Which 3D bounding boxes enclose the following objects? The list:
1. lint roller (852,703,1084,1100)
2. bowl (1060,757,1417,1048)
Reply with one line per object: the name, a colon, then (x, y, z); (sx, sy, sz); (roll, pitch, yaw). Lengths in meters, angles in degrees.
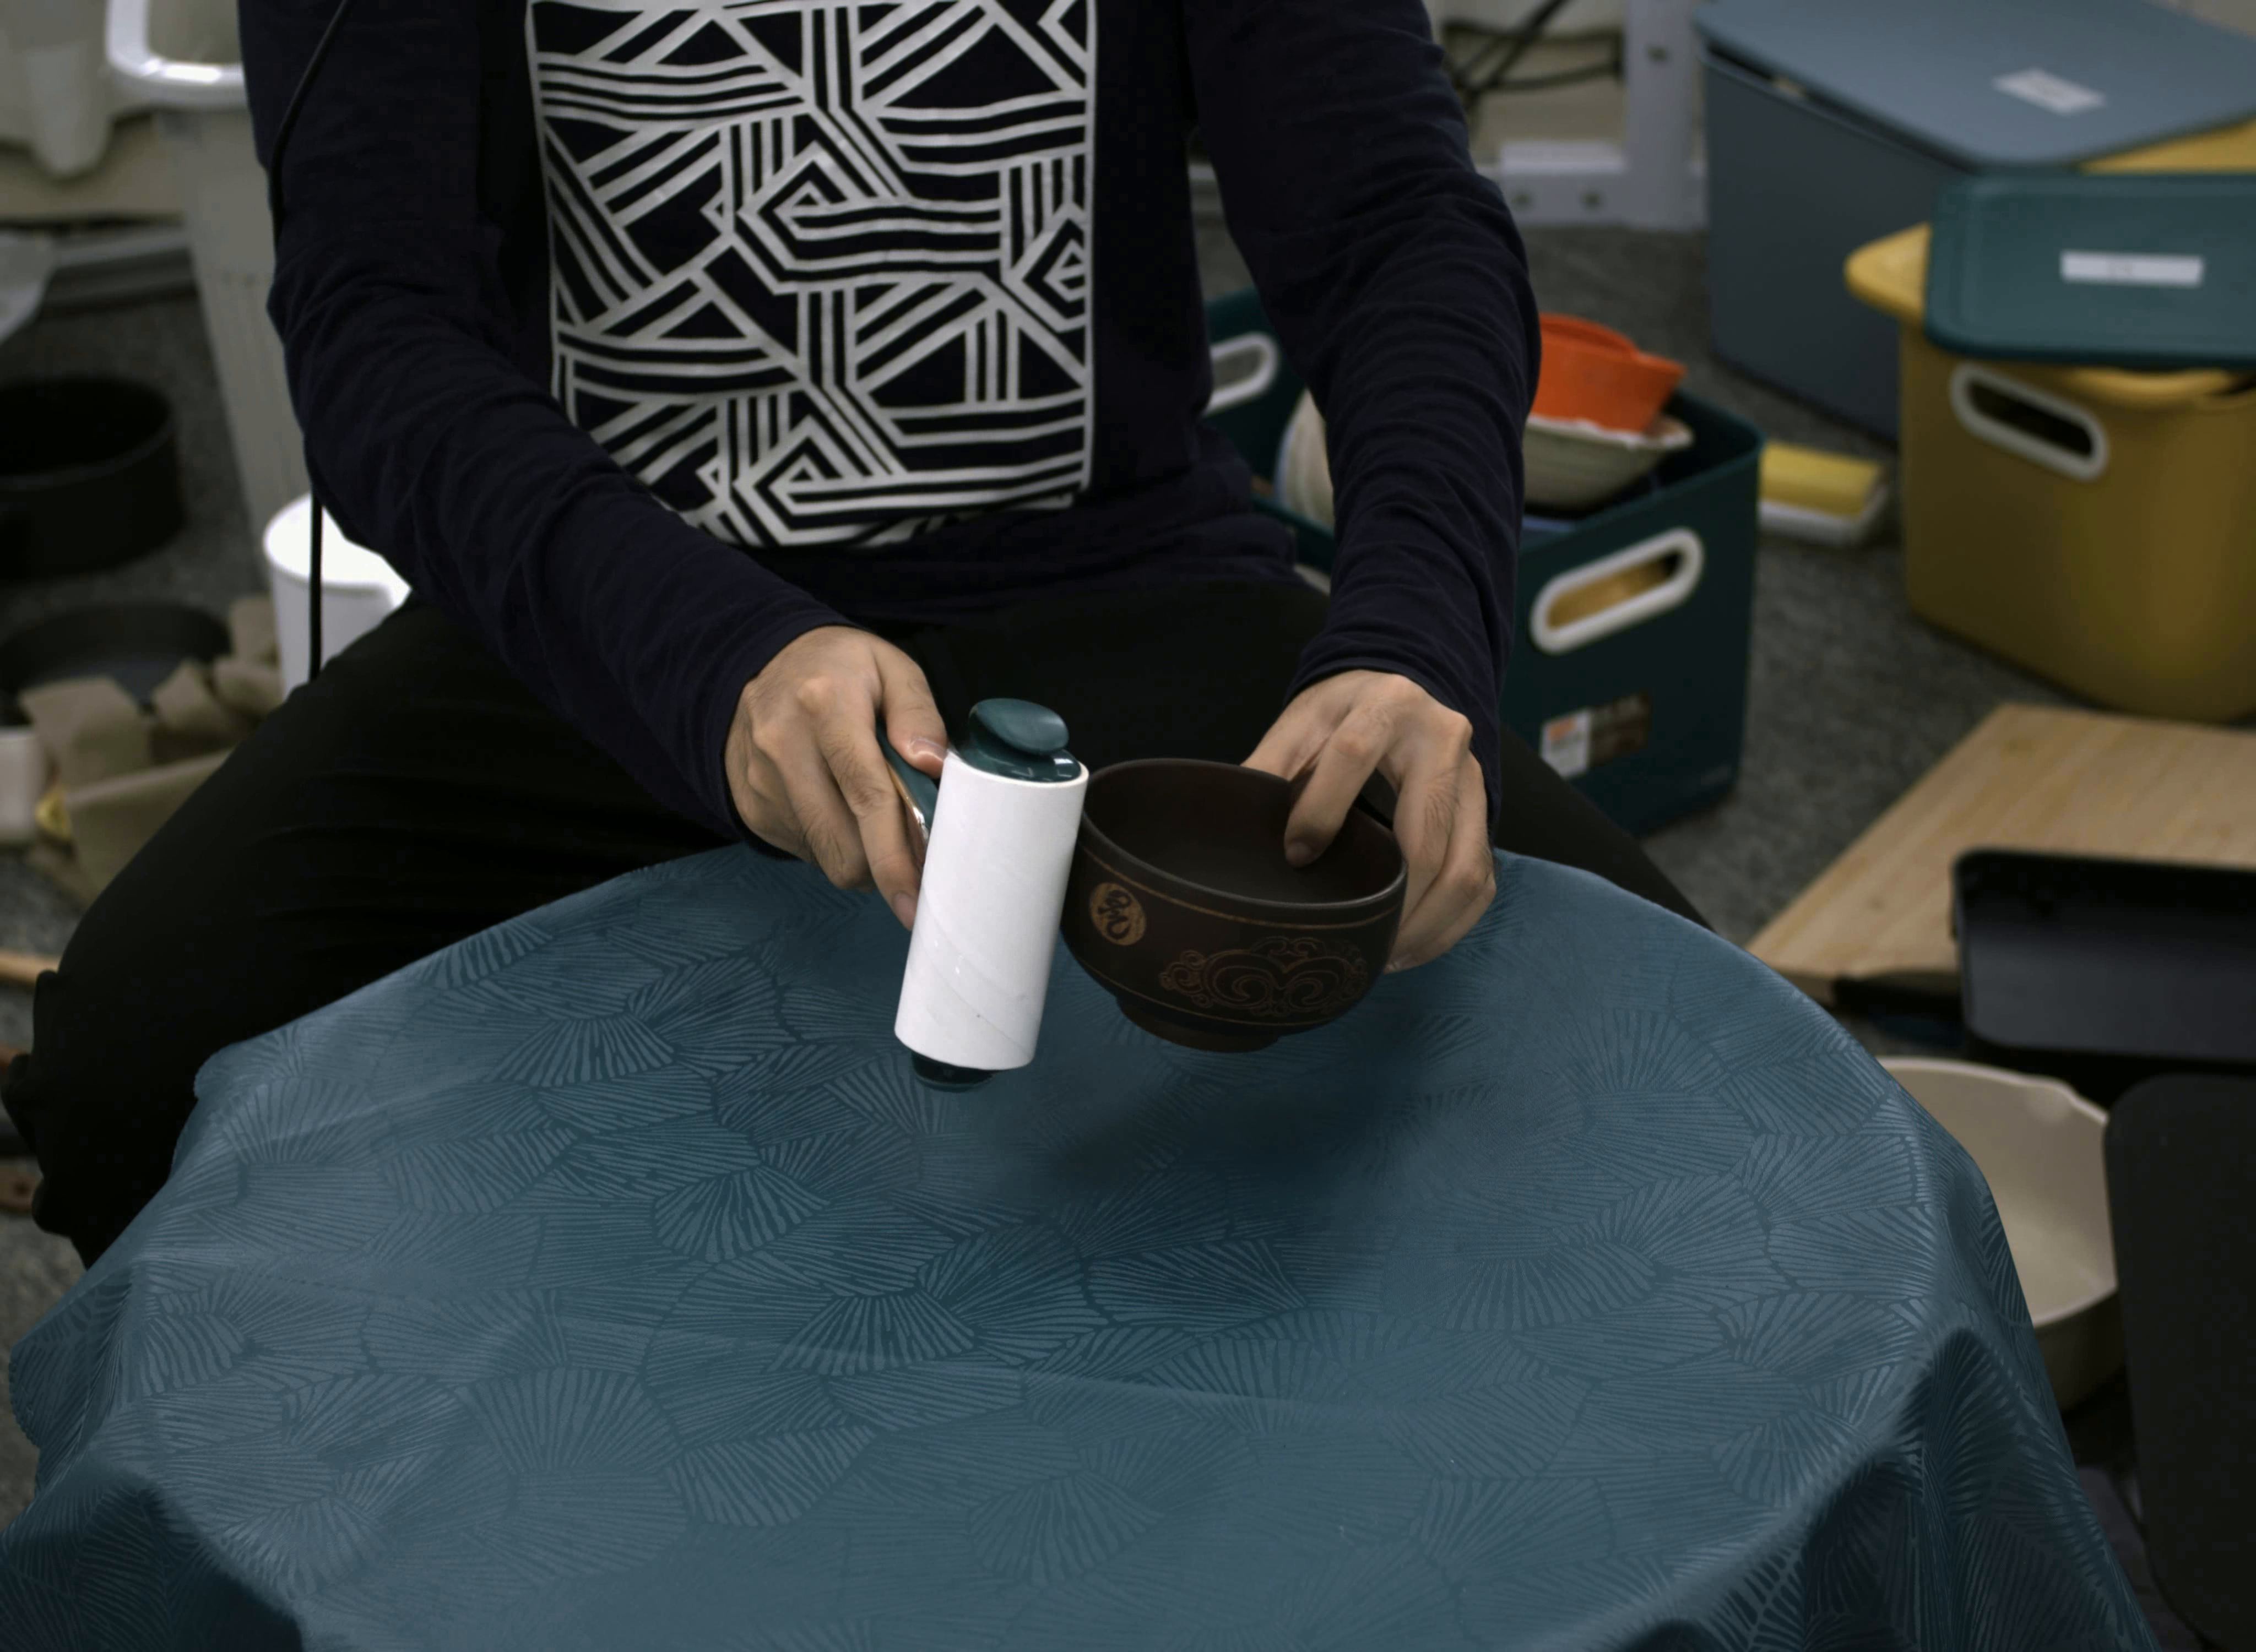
lint roller: (-0.074, 0.003, 1.890); (0.048, 0.133, 0.181); (2, 18, -28)
bowl: (0.033, 0.031, 1.857); (0.117, 0.069, 0.119); (10, 20, -3)
